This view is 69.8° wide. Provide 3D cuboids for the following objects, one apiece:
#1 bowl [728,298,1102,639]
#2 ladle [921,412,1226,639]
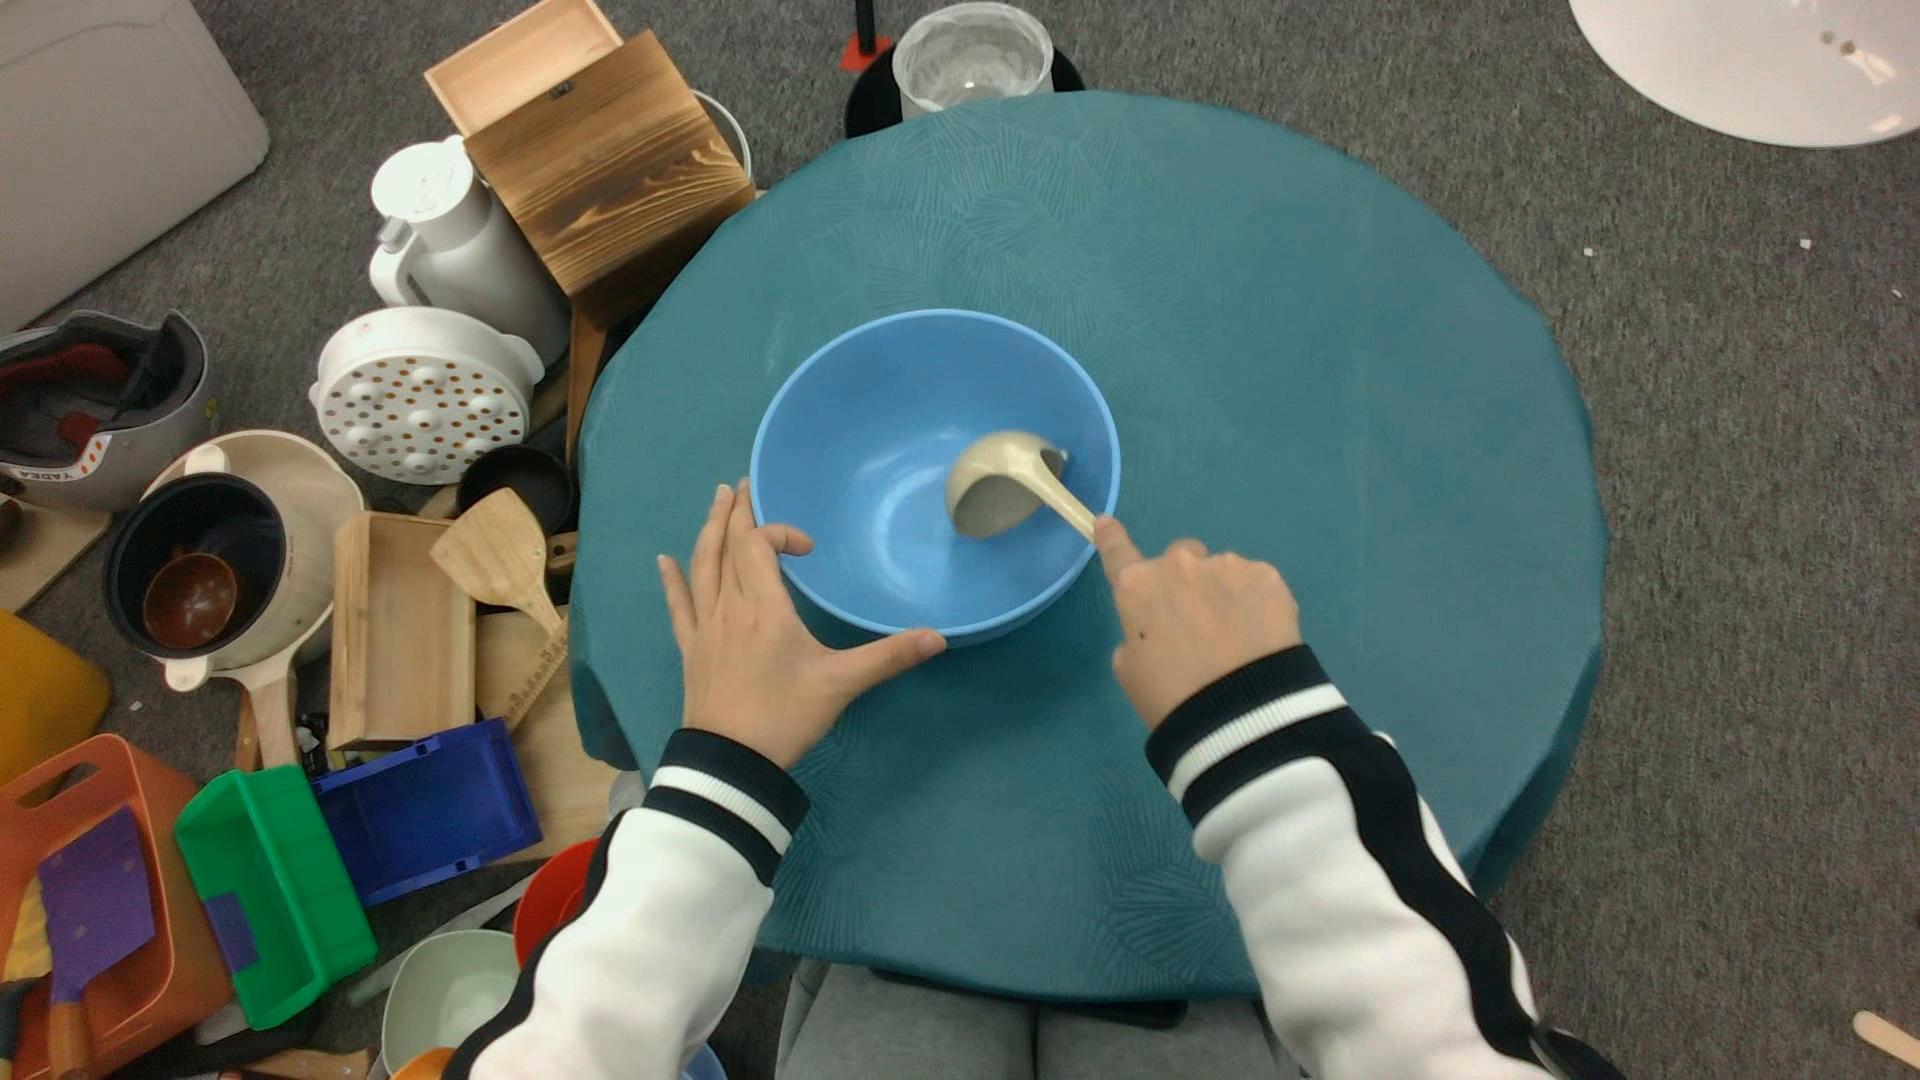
[{"bbox_3d":[-0.023,-0.027,0.764,0.196,0.095,0.197,0,65,1],"label":"bowl"},{"bbox_3d":[0.057,0.009,0.686,0.072,0.072,0.255,-23,37,-16],"label":"ladle"}]
